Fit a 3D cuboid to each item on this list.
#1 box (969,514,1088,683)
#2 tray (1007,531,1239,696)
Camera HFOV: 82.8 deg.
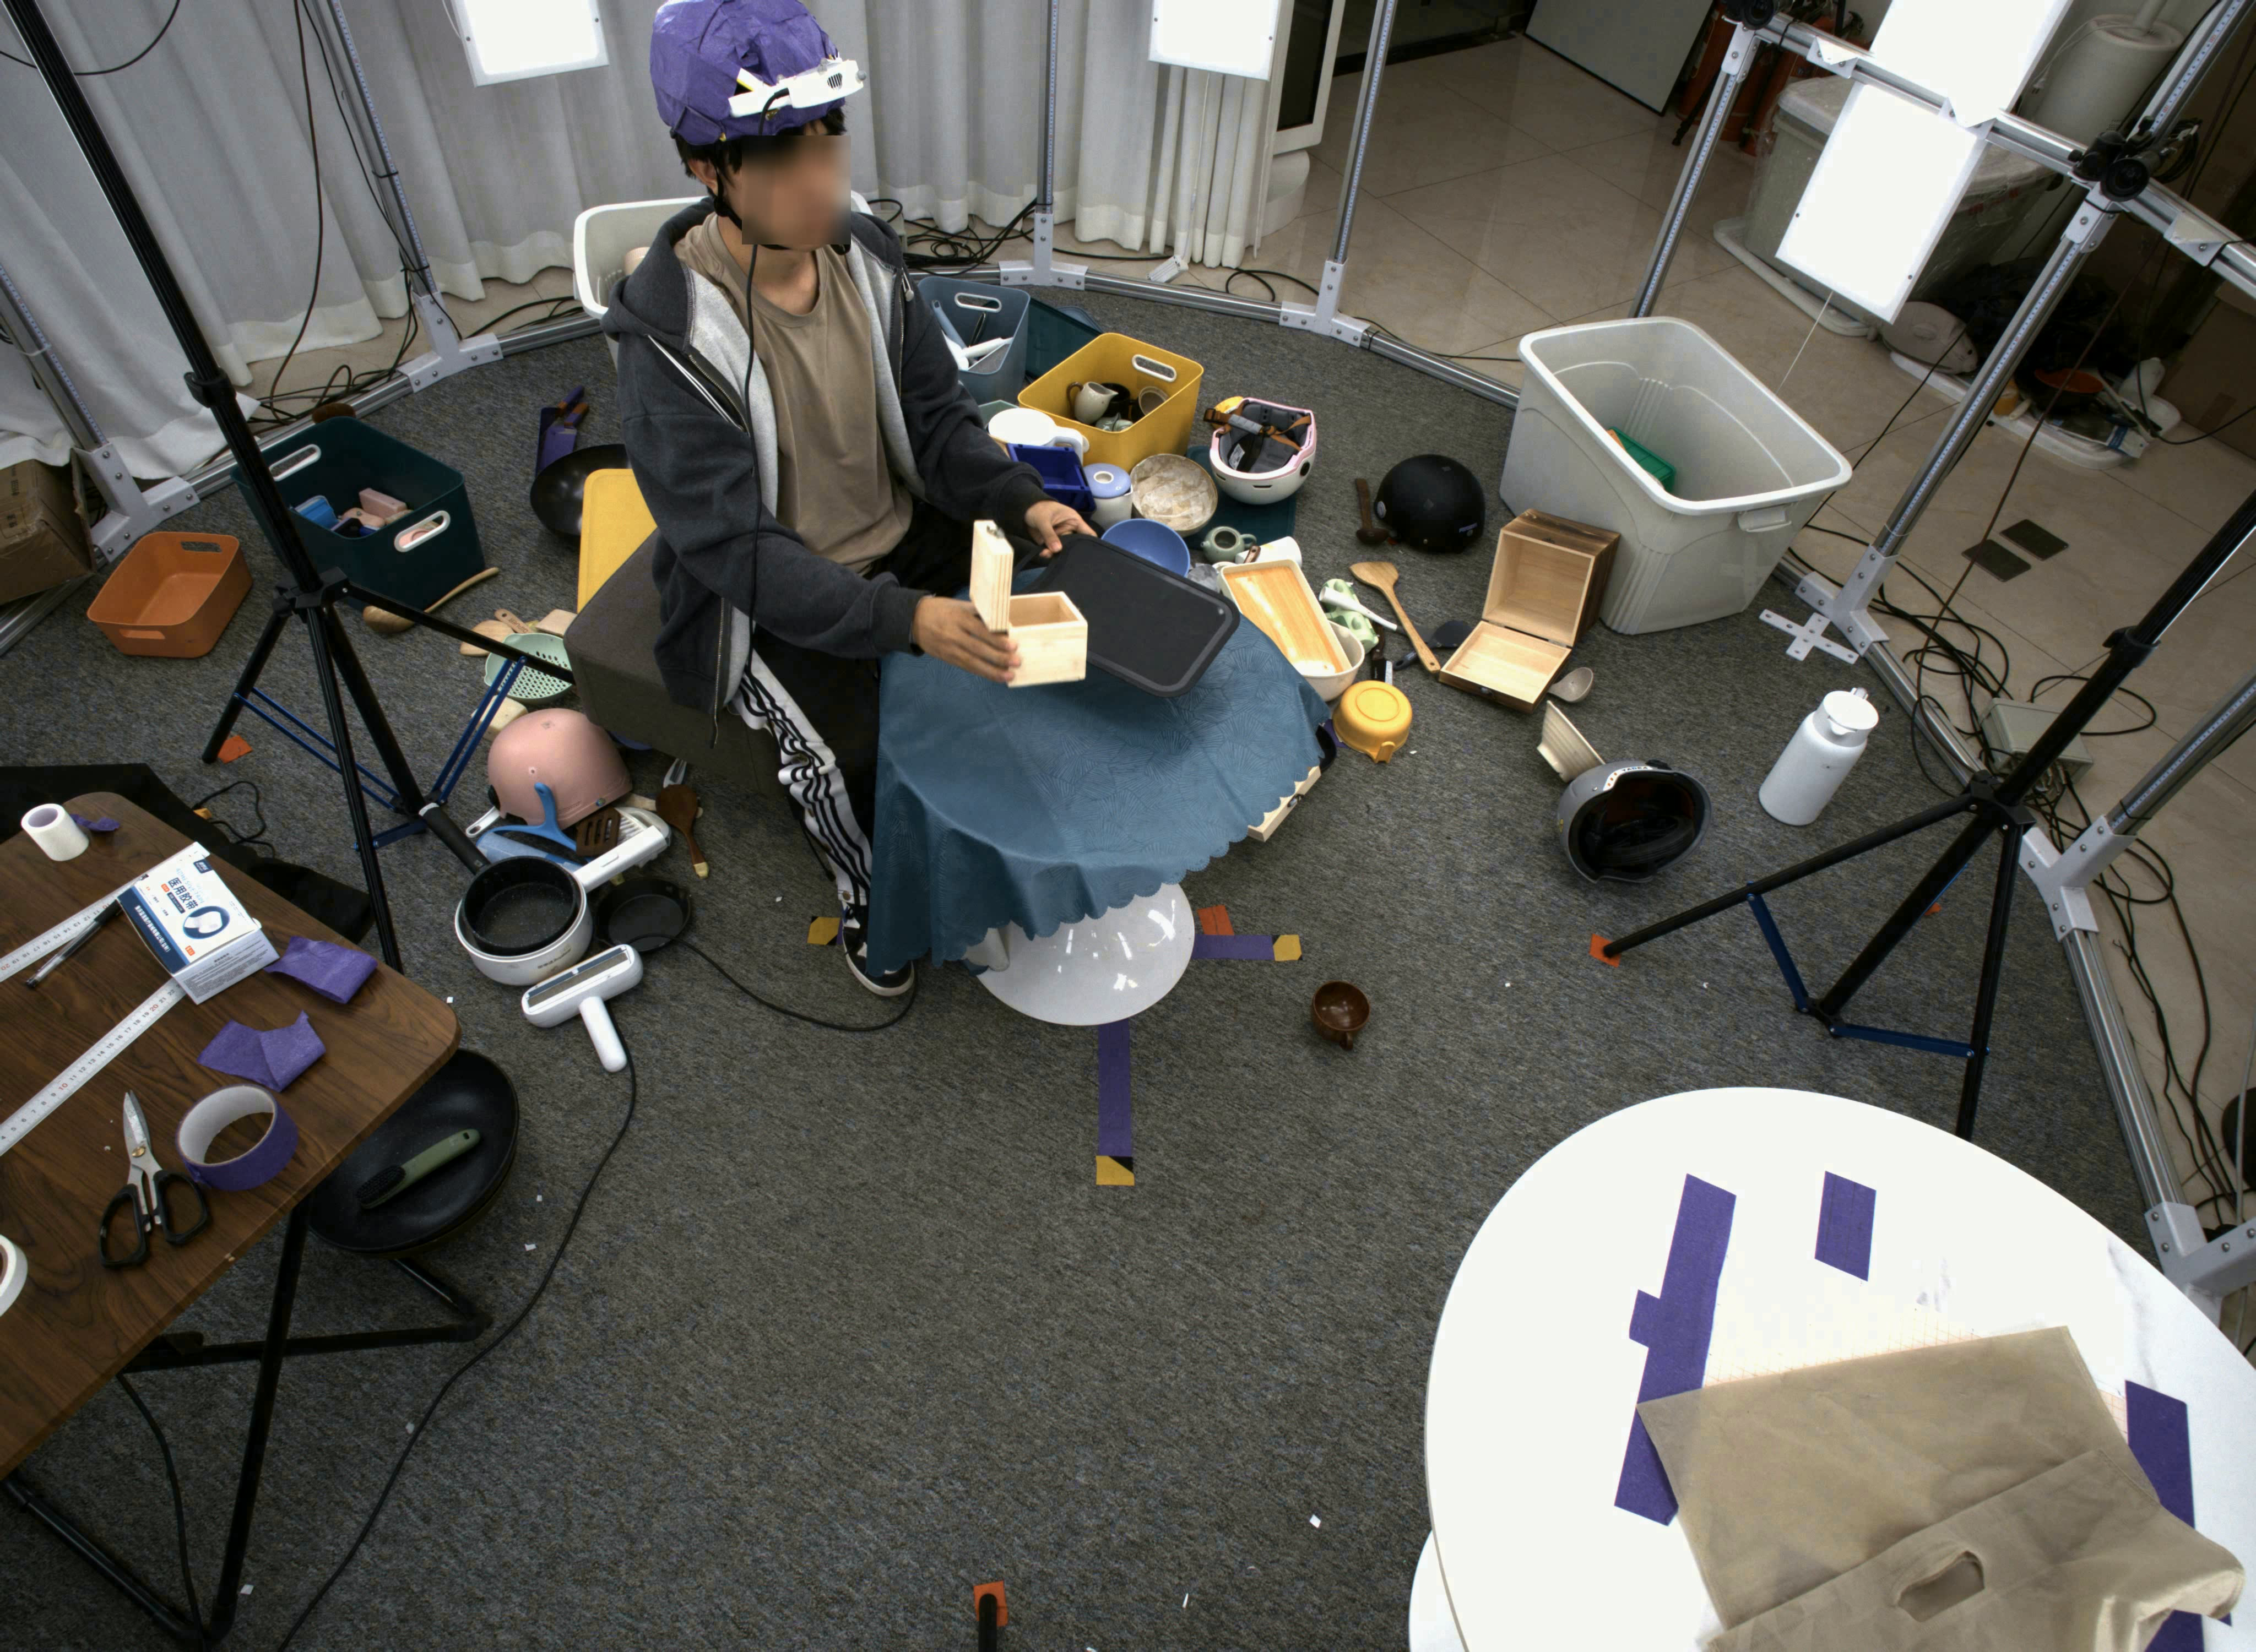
[{"bbox_3d":[-0.120,-0.283,1.583,0.134,0.180,0.105,-8,33,-18],"label":"box"},{"bbox_3d":[-0.020,-0.307,1.806,0.328,0.009,0.214,28,59,16],"label":"tray"}]
